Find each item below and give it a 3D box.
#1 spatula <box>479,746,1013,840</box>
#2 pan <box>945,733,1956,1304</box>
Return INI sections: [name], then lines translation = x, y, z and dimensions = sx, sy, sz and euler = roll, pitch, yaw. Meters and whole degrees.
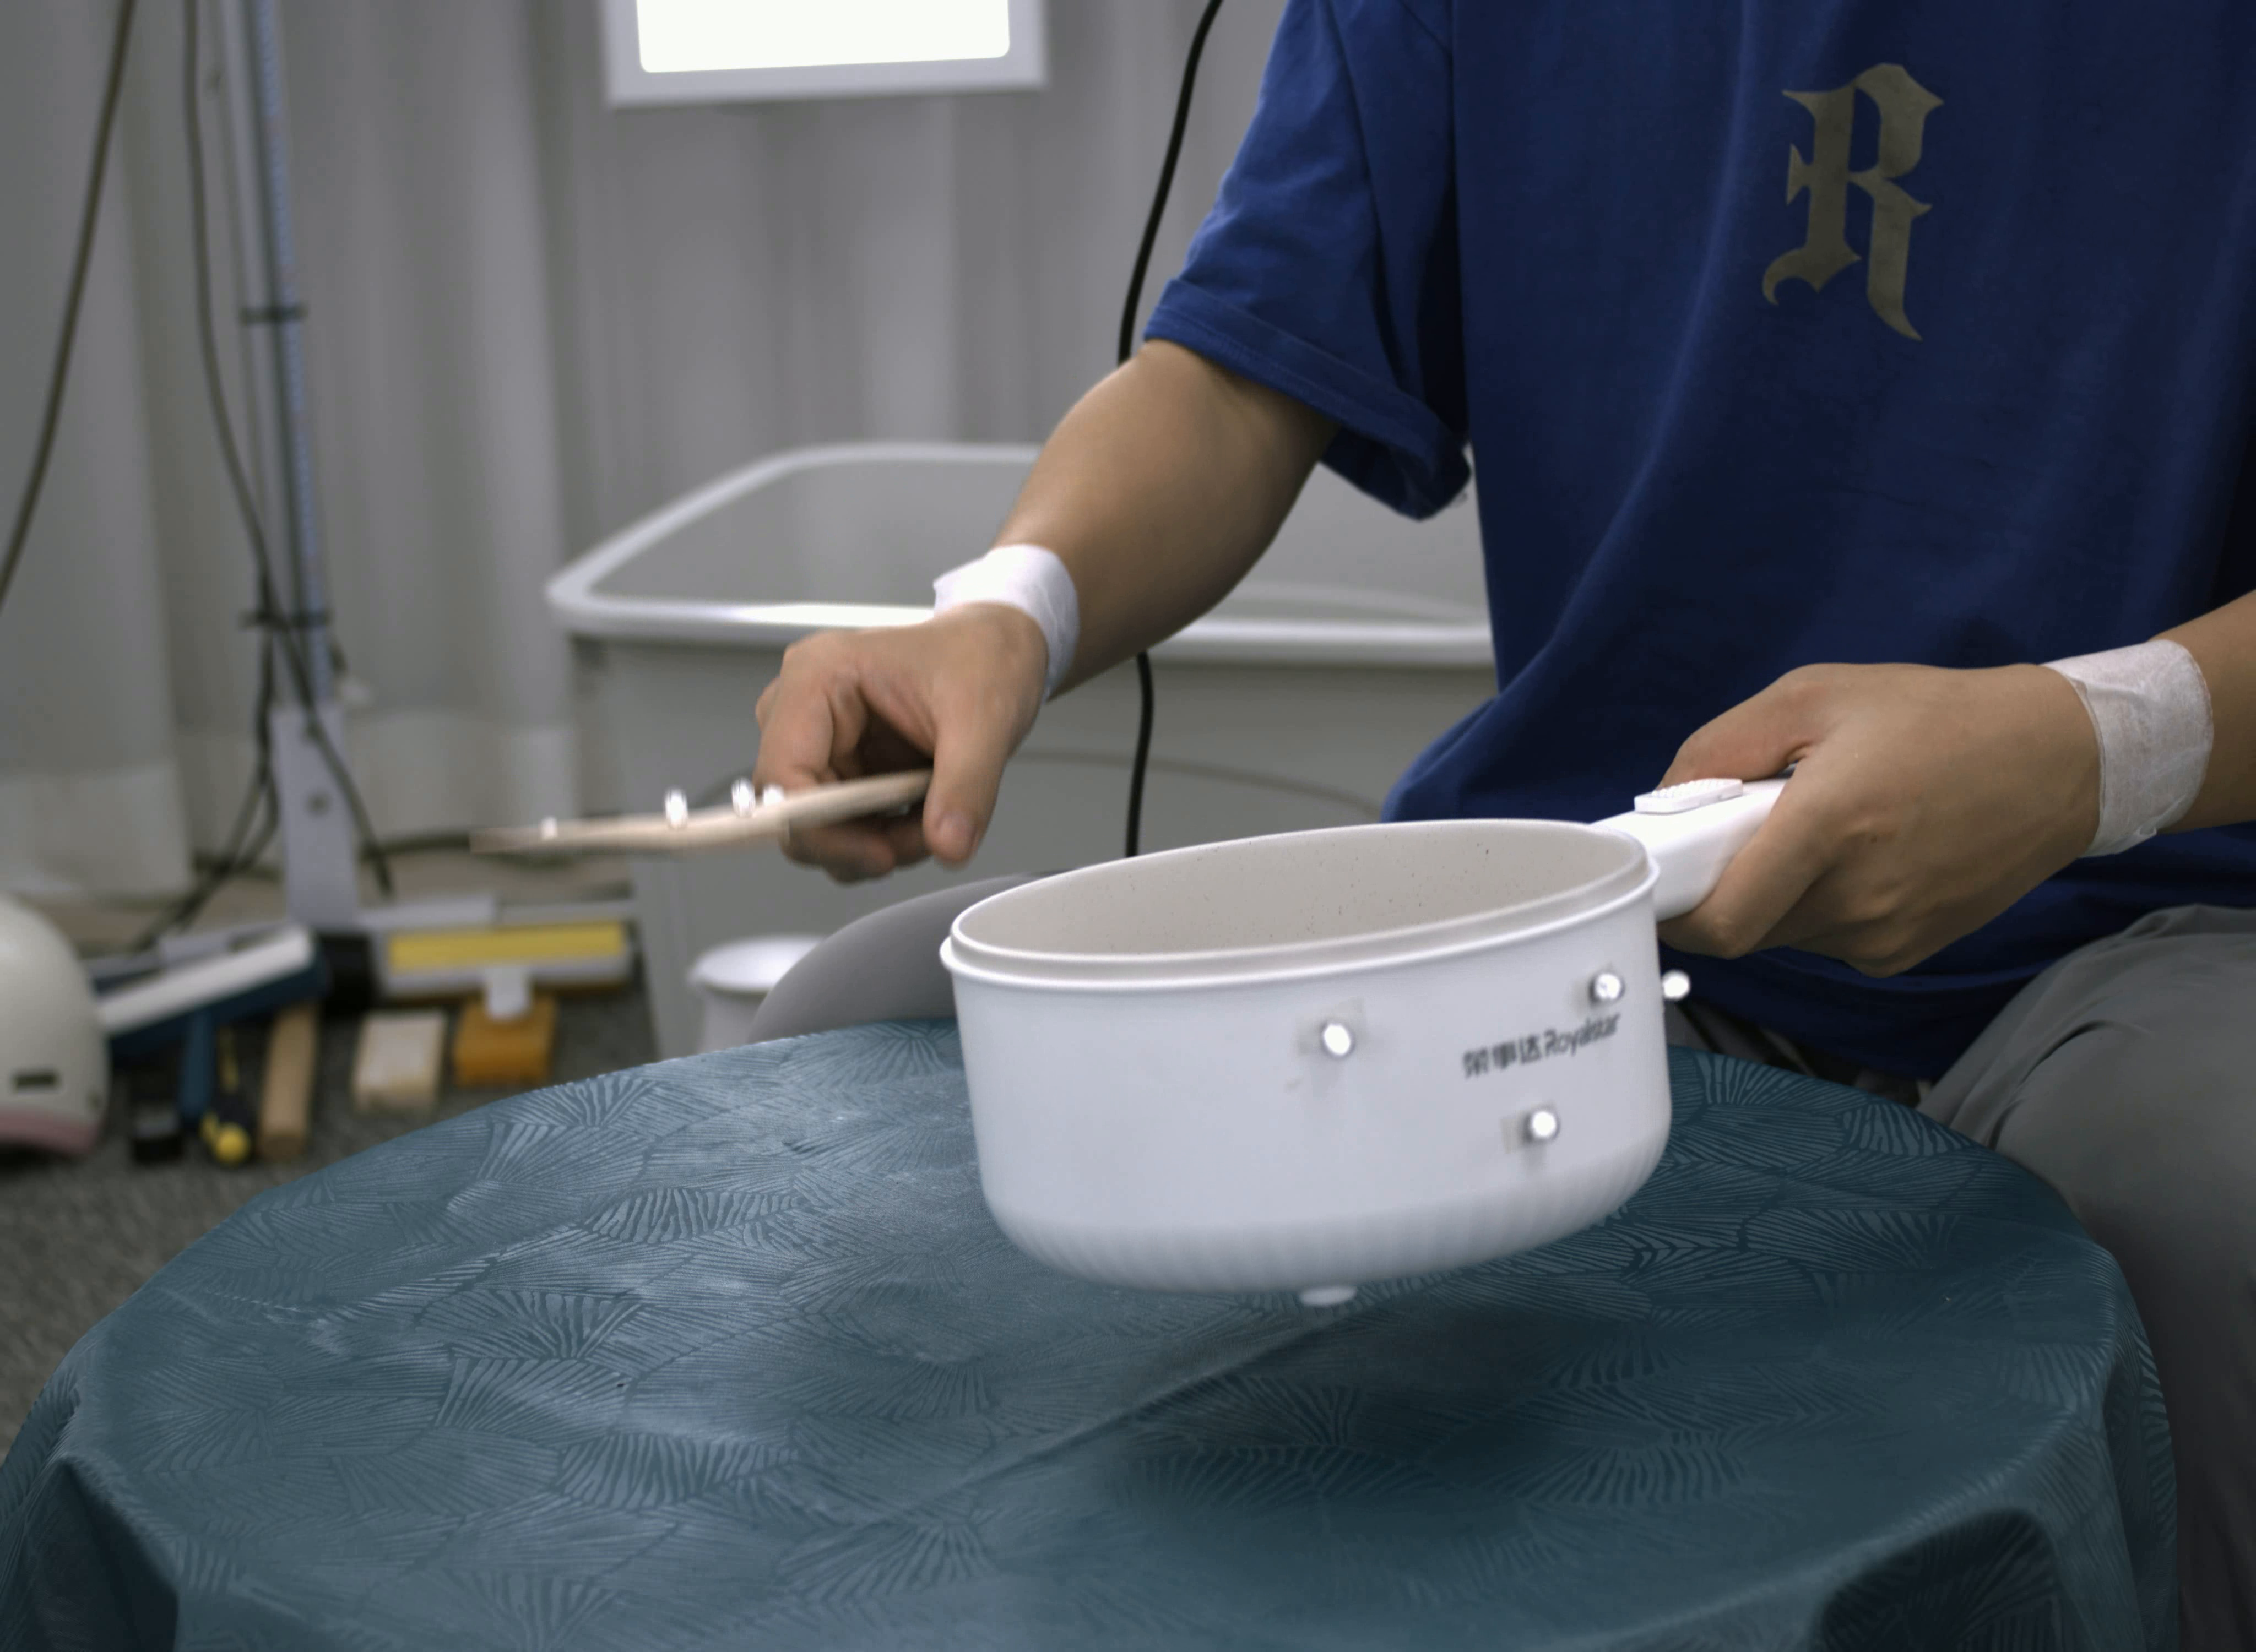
[spatula]
translation = -0.106, -0.010, 1.725
dimensions = 0.072, 0.010, 0.292
euler = -2, 4, 23
[pan]
translation = 0.111, 0.052, 1.569
dimensions = 0.354, 0.102, 0.202
euler = -14, 9, -40
